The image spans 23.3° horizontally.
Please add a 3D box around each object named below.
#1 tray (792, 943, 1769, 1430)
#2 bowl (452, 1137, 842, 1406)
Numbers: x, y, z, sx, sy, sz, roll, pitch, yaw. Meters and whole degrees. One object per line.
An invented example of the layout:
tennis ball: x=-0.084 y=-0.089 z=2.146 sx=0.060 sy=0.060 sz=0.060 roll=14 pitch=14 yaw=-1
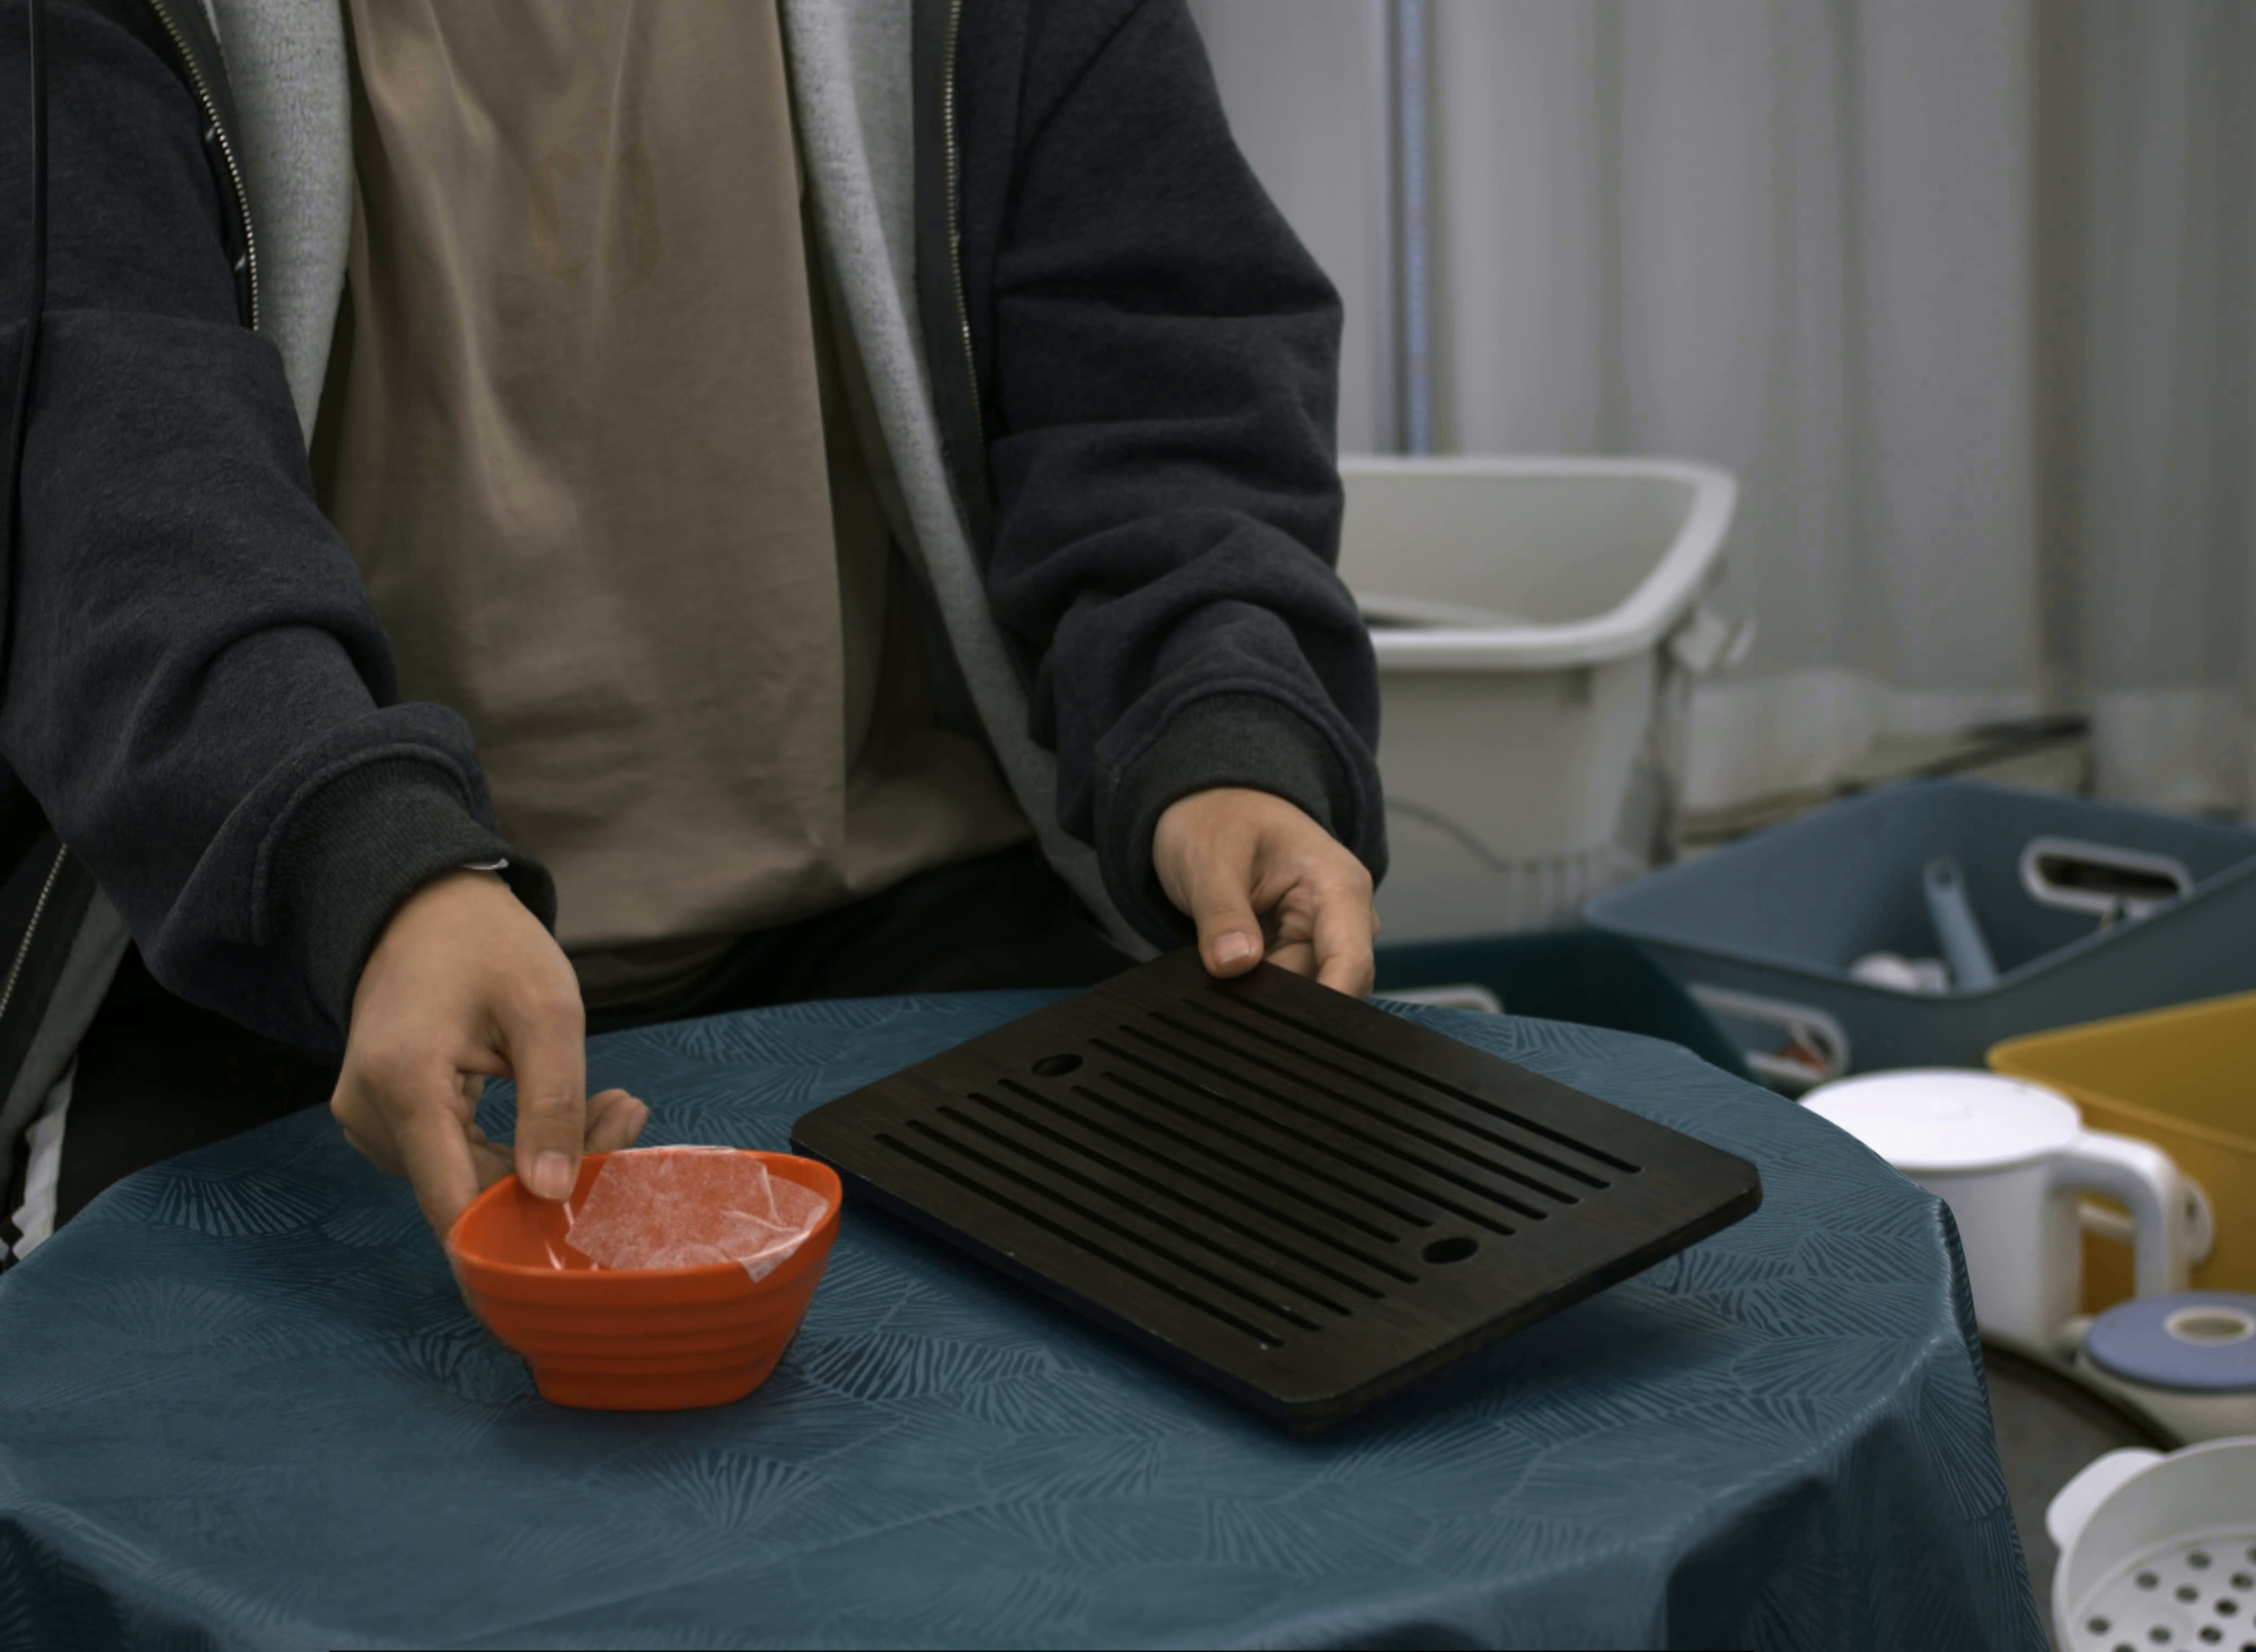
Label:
tray: x=0.039 y=0.104 z=1.651 sx=0.170 sy=0.018 sz=0.308 roll=-23 pitch=23 yaw=-26
bowl: x=-0.136 y=0.131 z=1.575 sx=0.118 sy=0.051 sz=0.120 roll=-4 pitch=16 yaw=1
